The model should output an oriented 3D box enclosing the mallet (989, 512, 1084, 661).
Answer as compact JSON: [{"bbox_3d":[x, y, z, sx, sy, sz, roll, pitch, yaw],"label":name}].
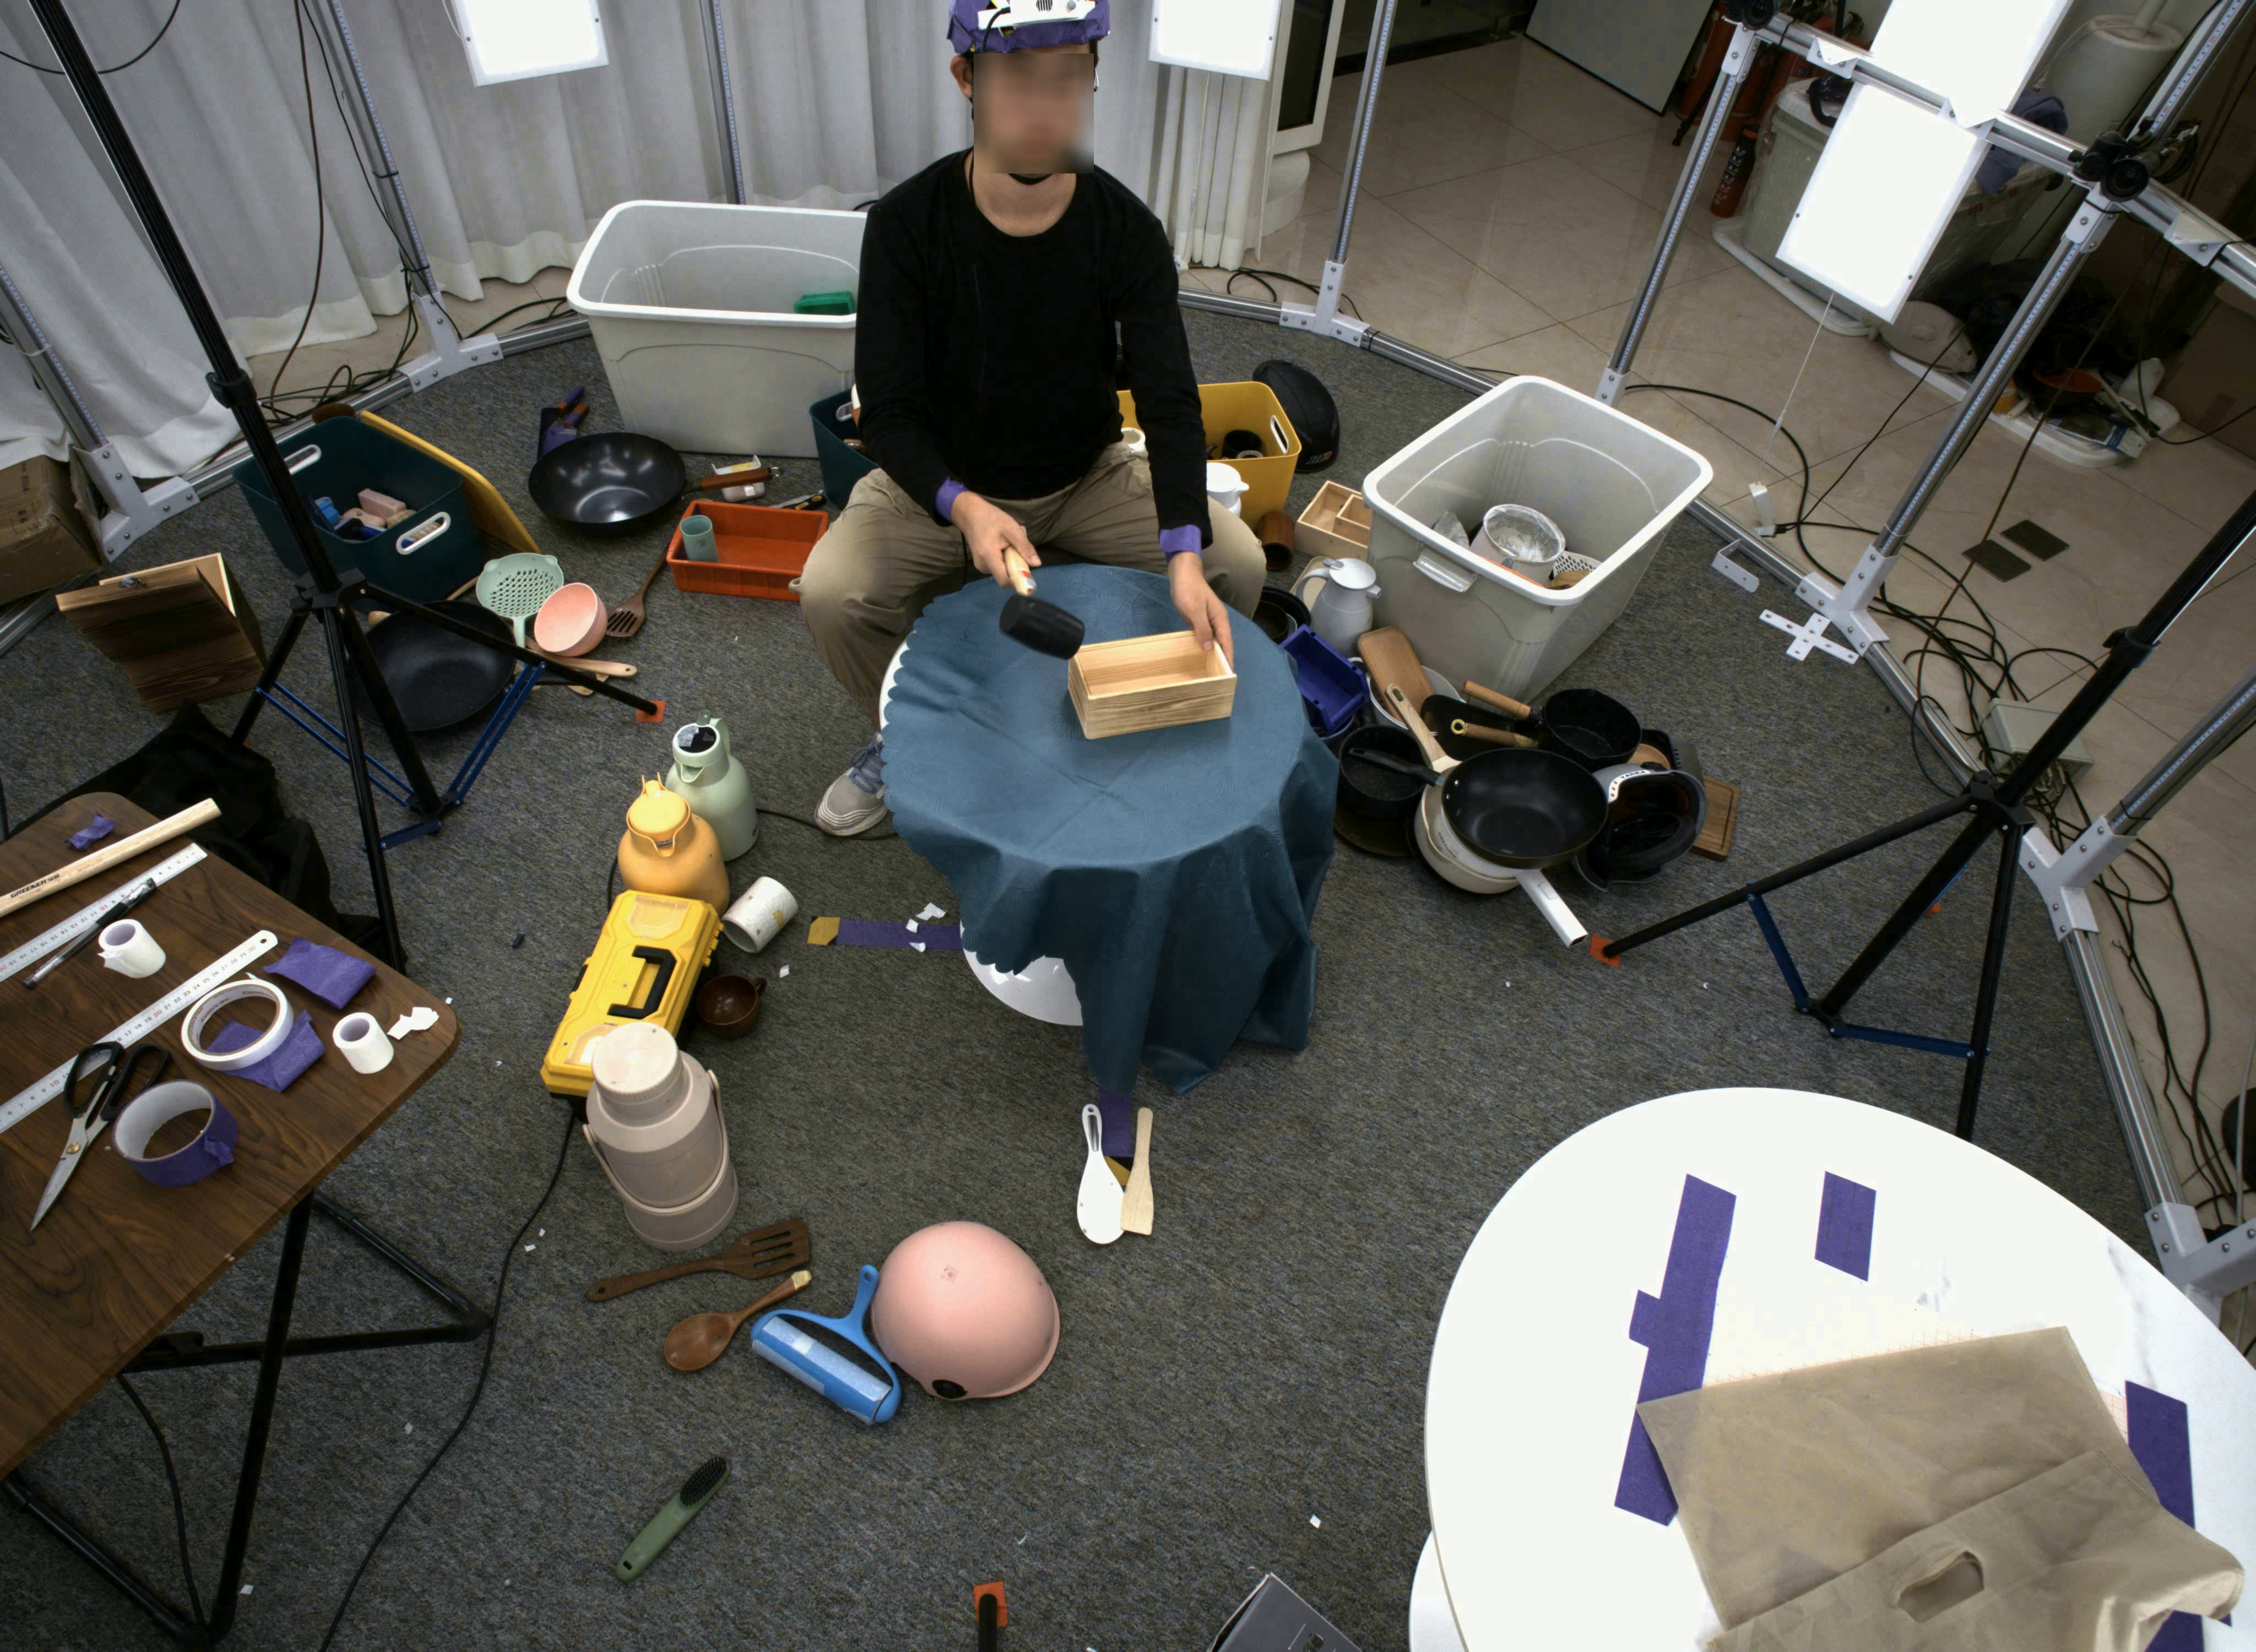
[{"bbox_3d":[-0.141,-0.346,1.741,0.100,0.063,0.347,29,27,-33],"label":"mallet"}]

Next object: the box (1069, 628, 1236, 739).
[{"bbox_3d":[0.031,-0.201,1.793,0.211,0.078,0.110,-10,50,-12],"label":"box"}]
